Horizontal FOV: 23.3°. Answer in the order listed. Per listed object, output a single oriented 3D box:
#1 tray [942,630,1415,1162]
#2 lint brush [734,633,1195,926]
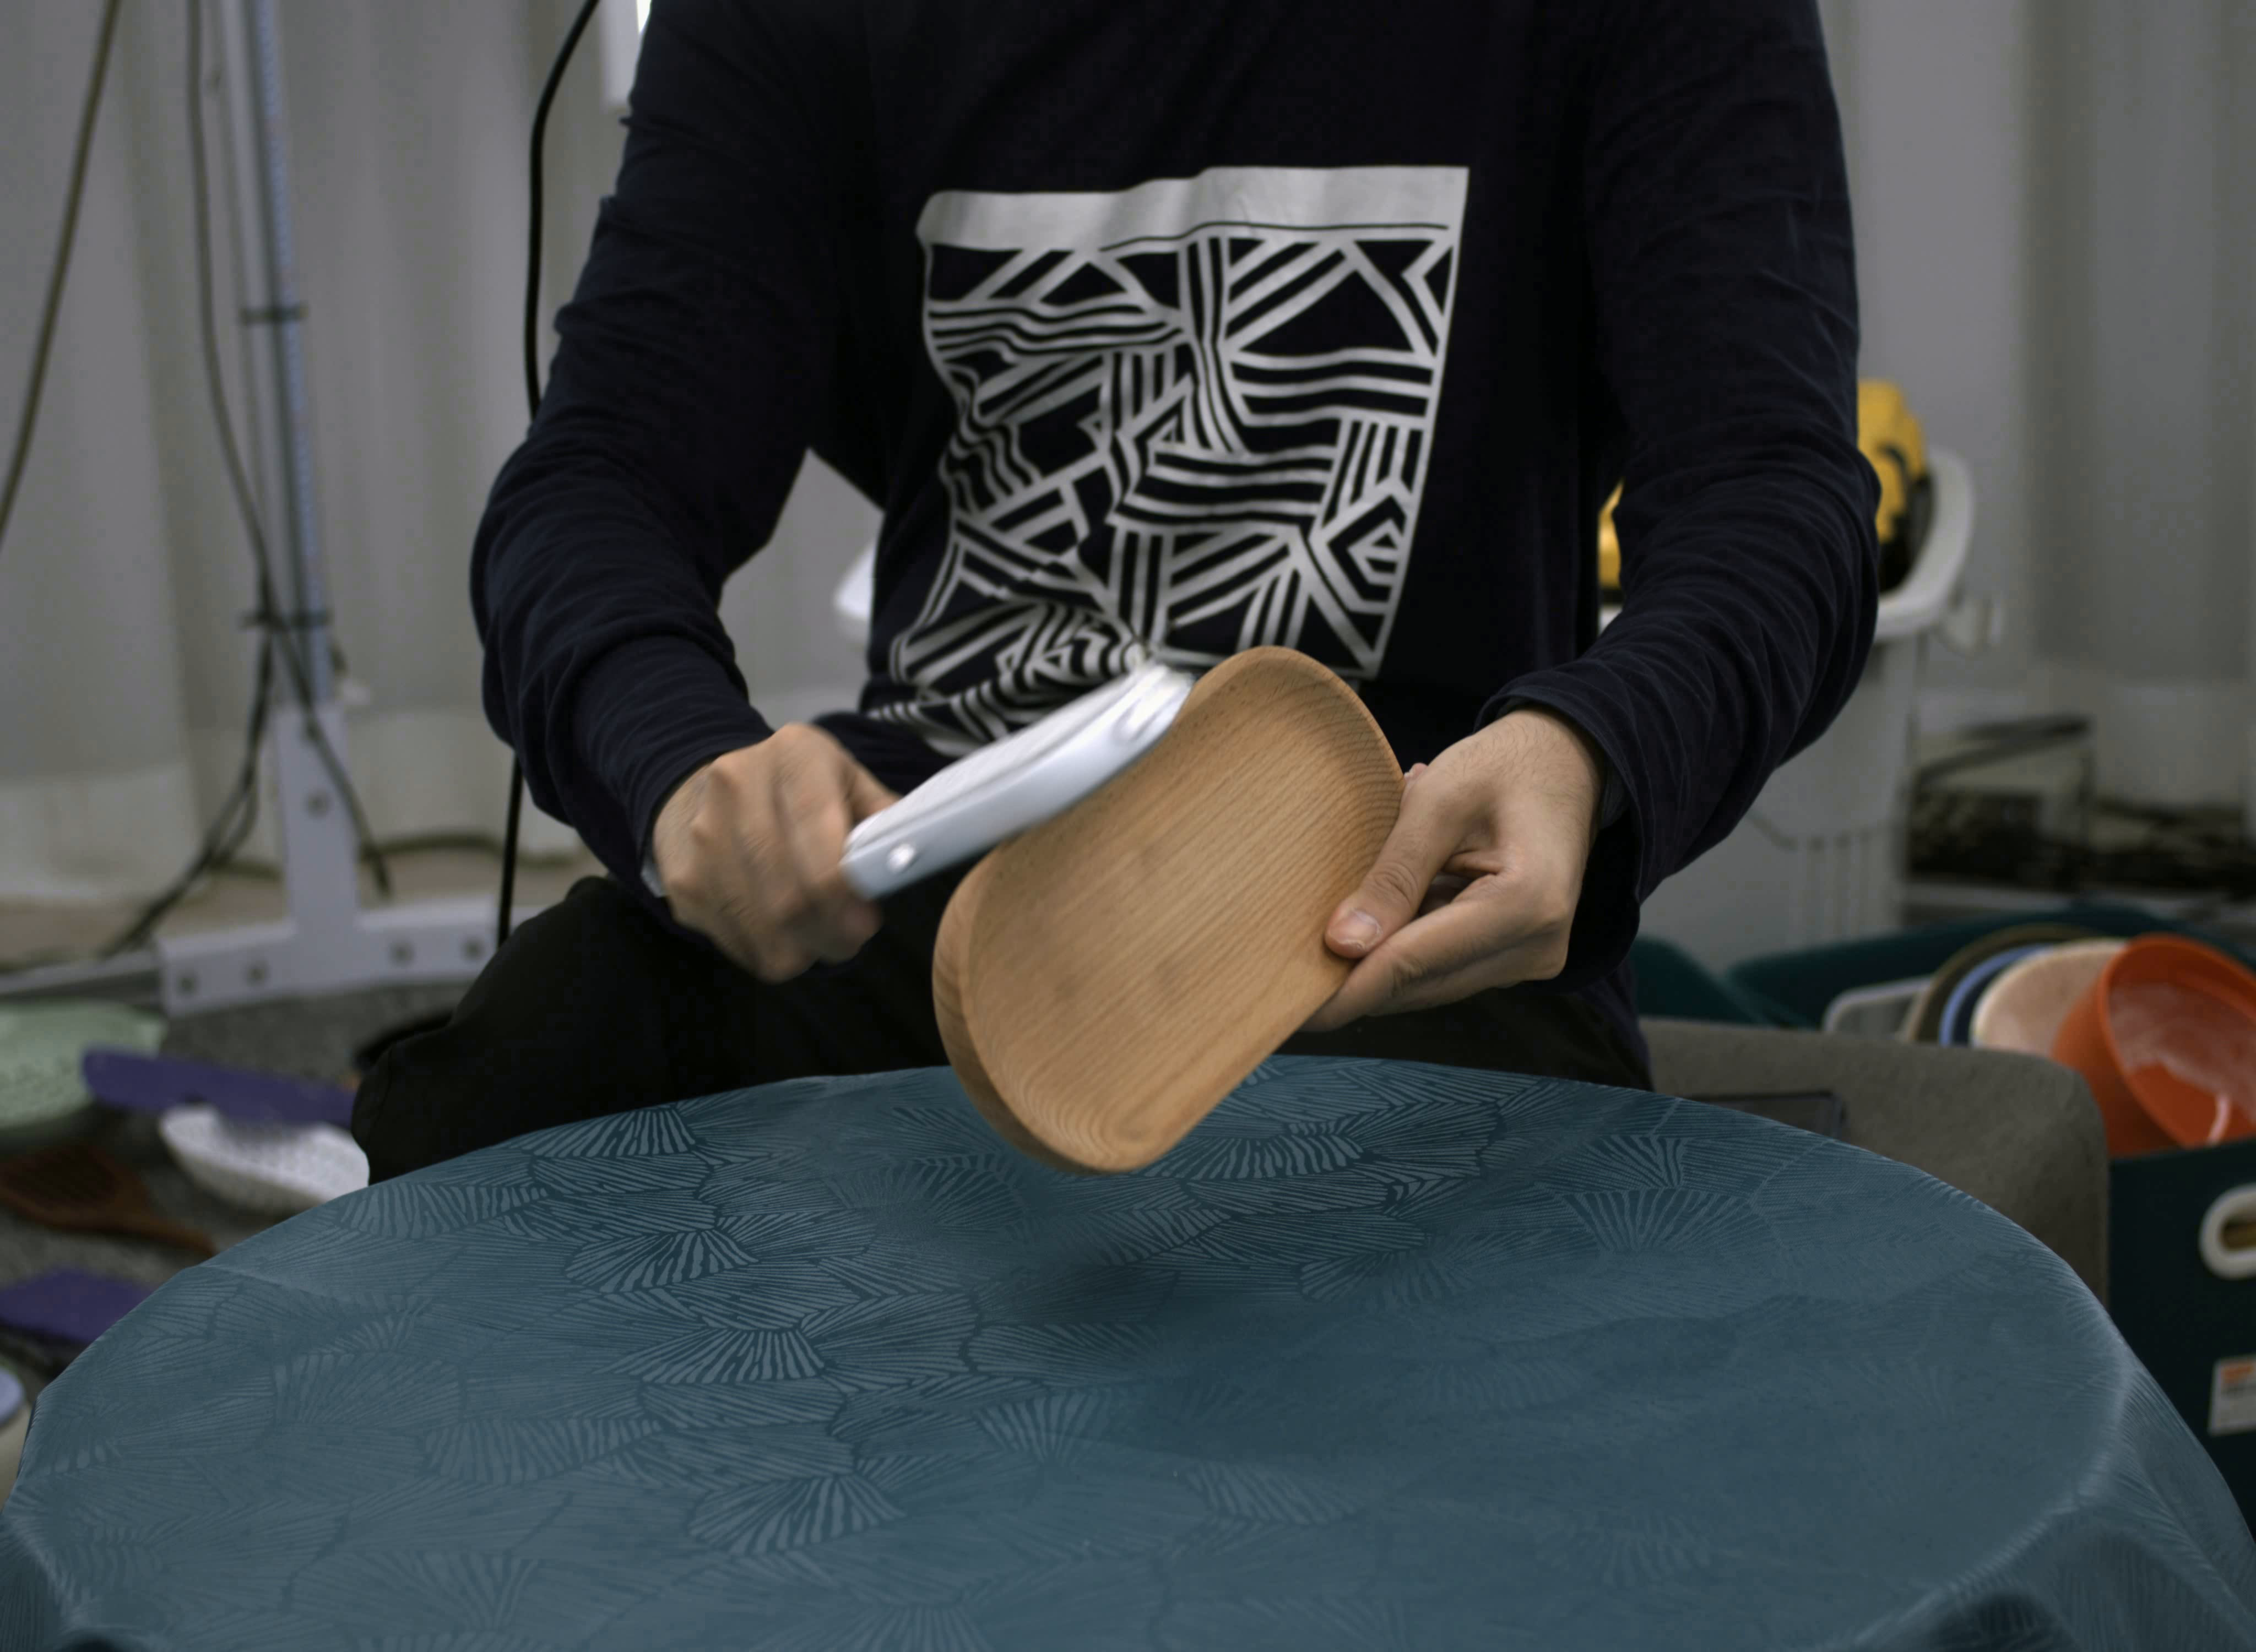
[{"bbox_3d":[0.017,0.019,1.625,0.020,0.101,0.232,-20,13,38],"label":"tray"},{"bbox_3d":[-0.057,-0.008,1.675,0.060,0.021,0.308,-44,9,-27],"label":"lint brush"}]
